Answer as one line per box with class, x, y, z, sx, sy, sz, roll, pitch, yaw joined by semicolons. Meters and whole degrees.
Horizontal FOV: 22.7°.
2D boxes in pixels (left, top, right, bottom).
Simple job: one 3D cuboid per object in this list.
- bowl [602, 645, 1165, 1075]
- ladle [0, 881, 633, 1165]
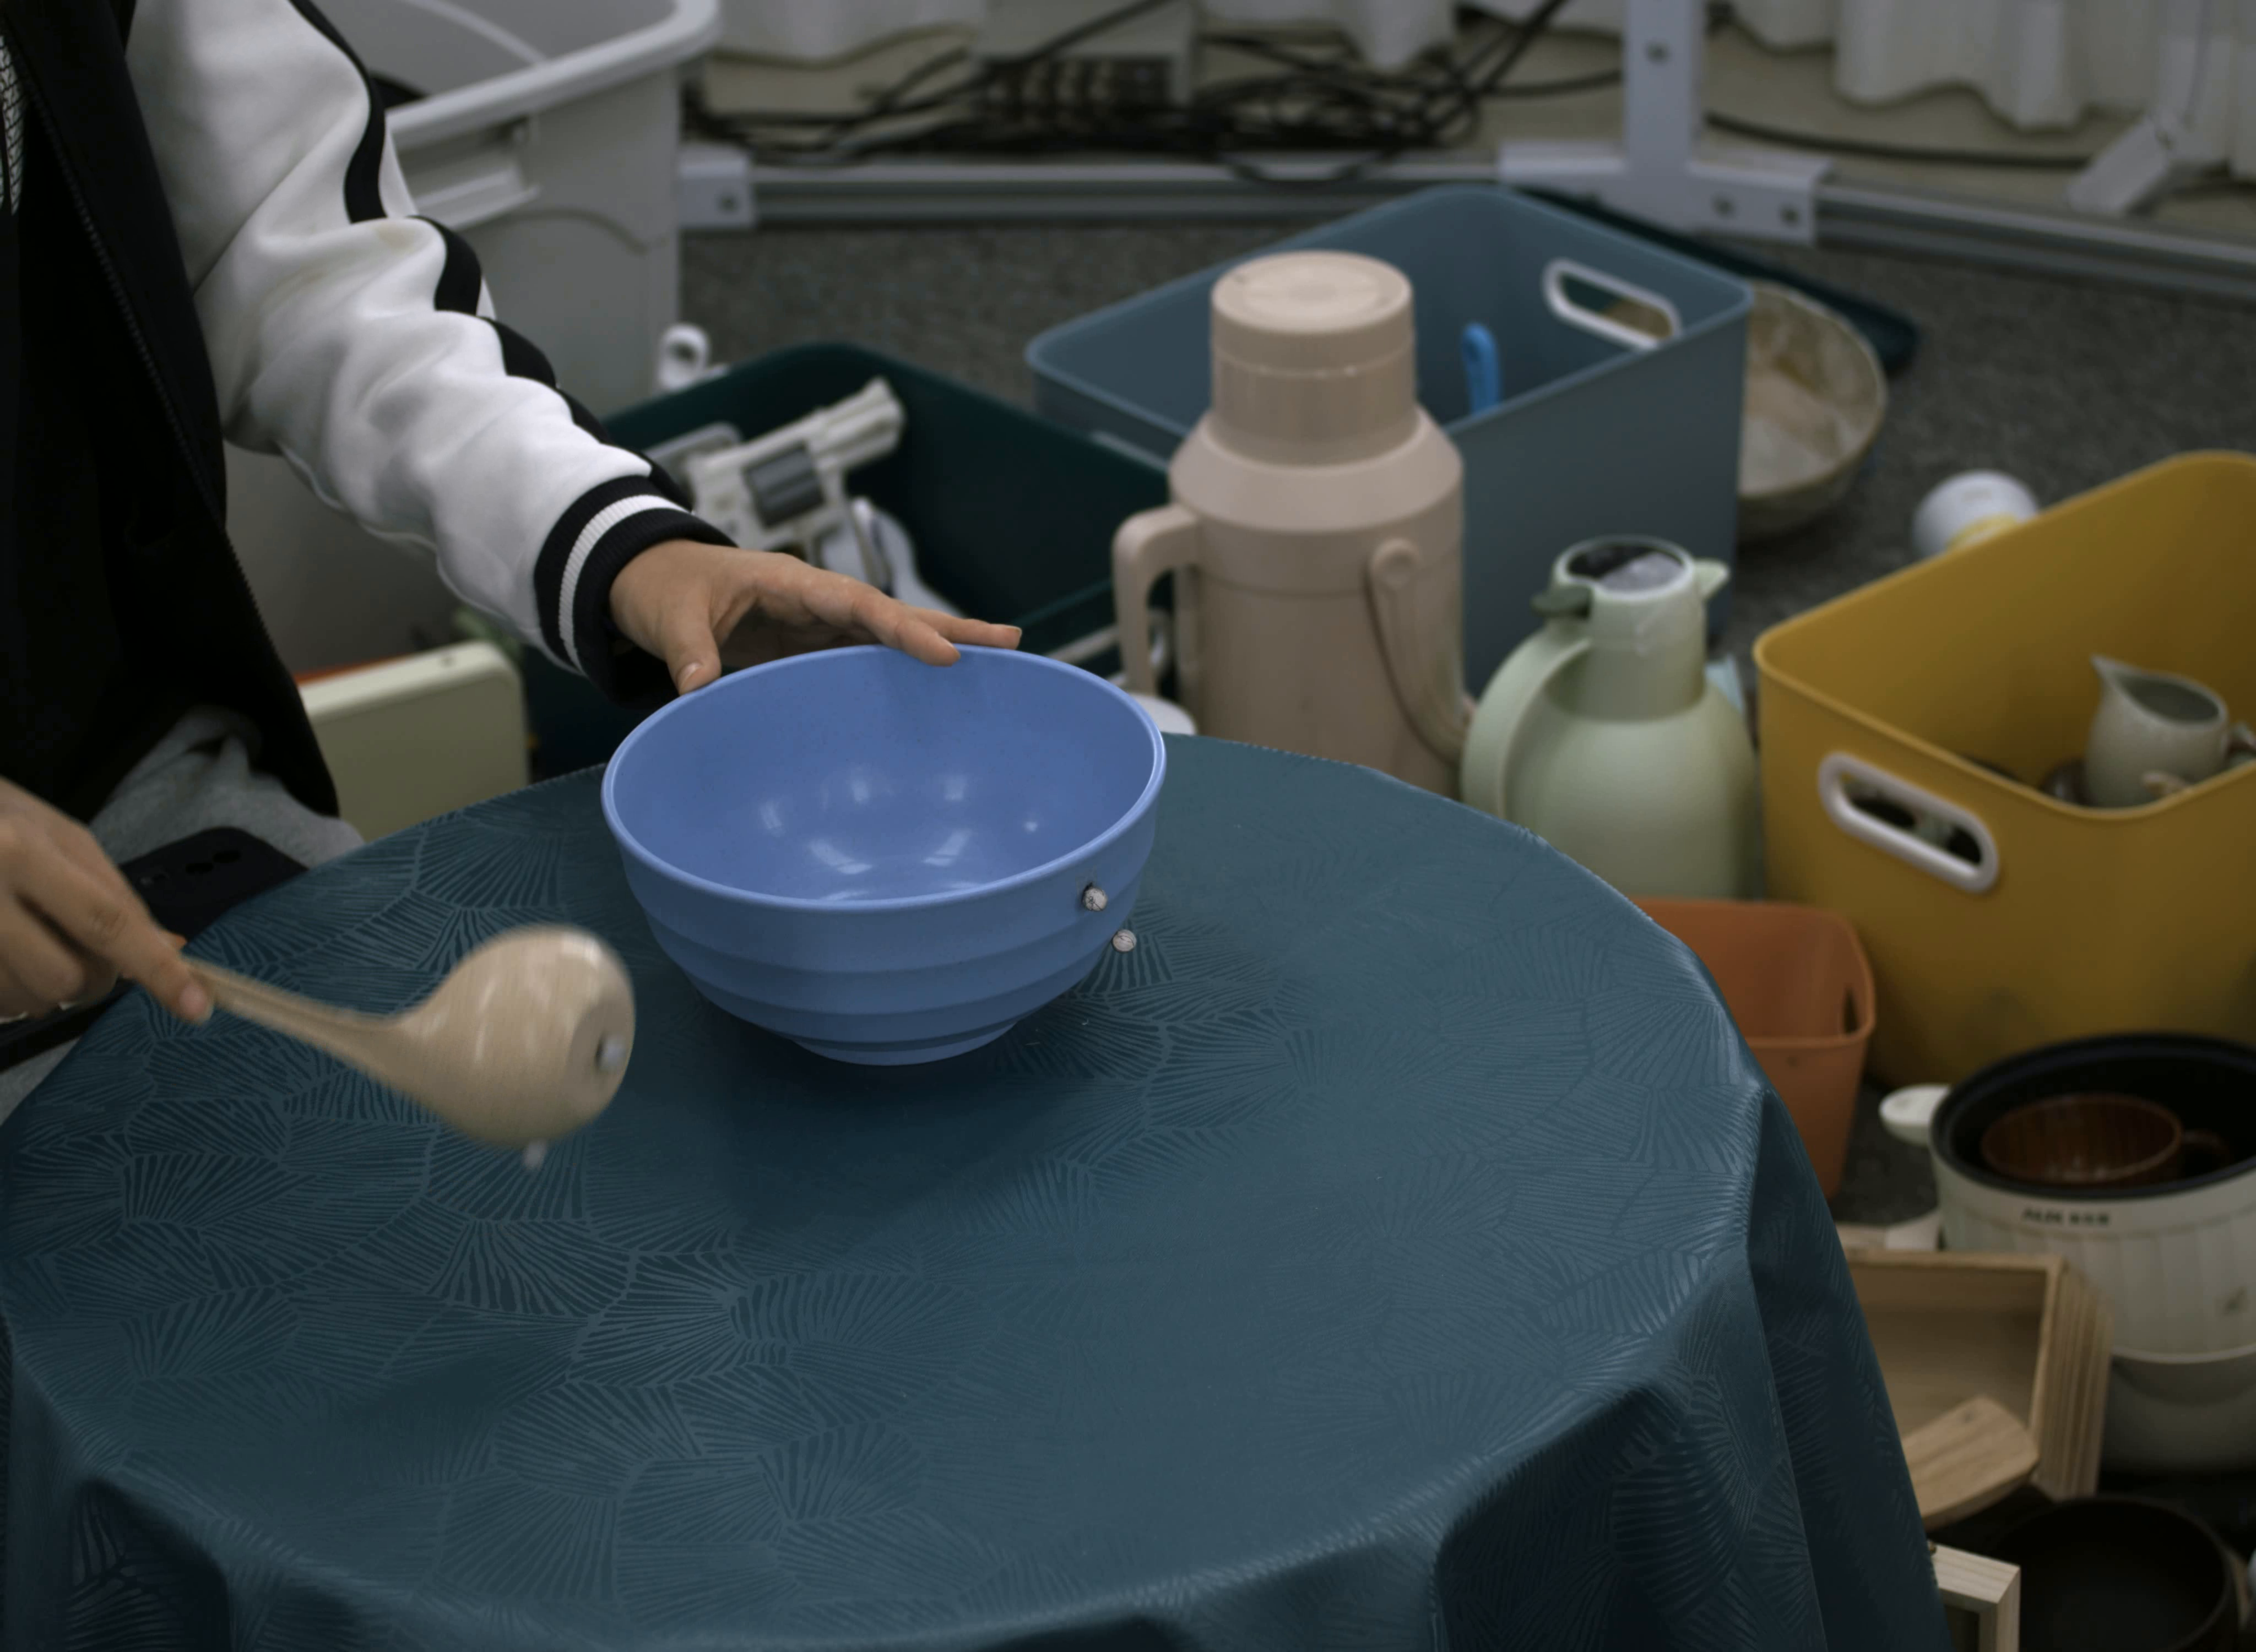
bowl;-0.081;0.024;1.964;0.195;0.094;0.199;-3;28;2
ladle;-0.274;0.043;1.831;0.253;0.071;0.074;20;37;27
